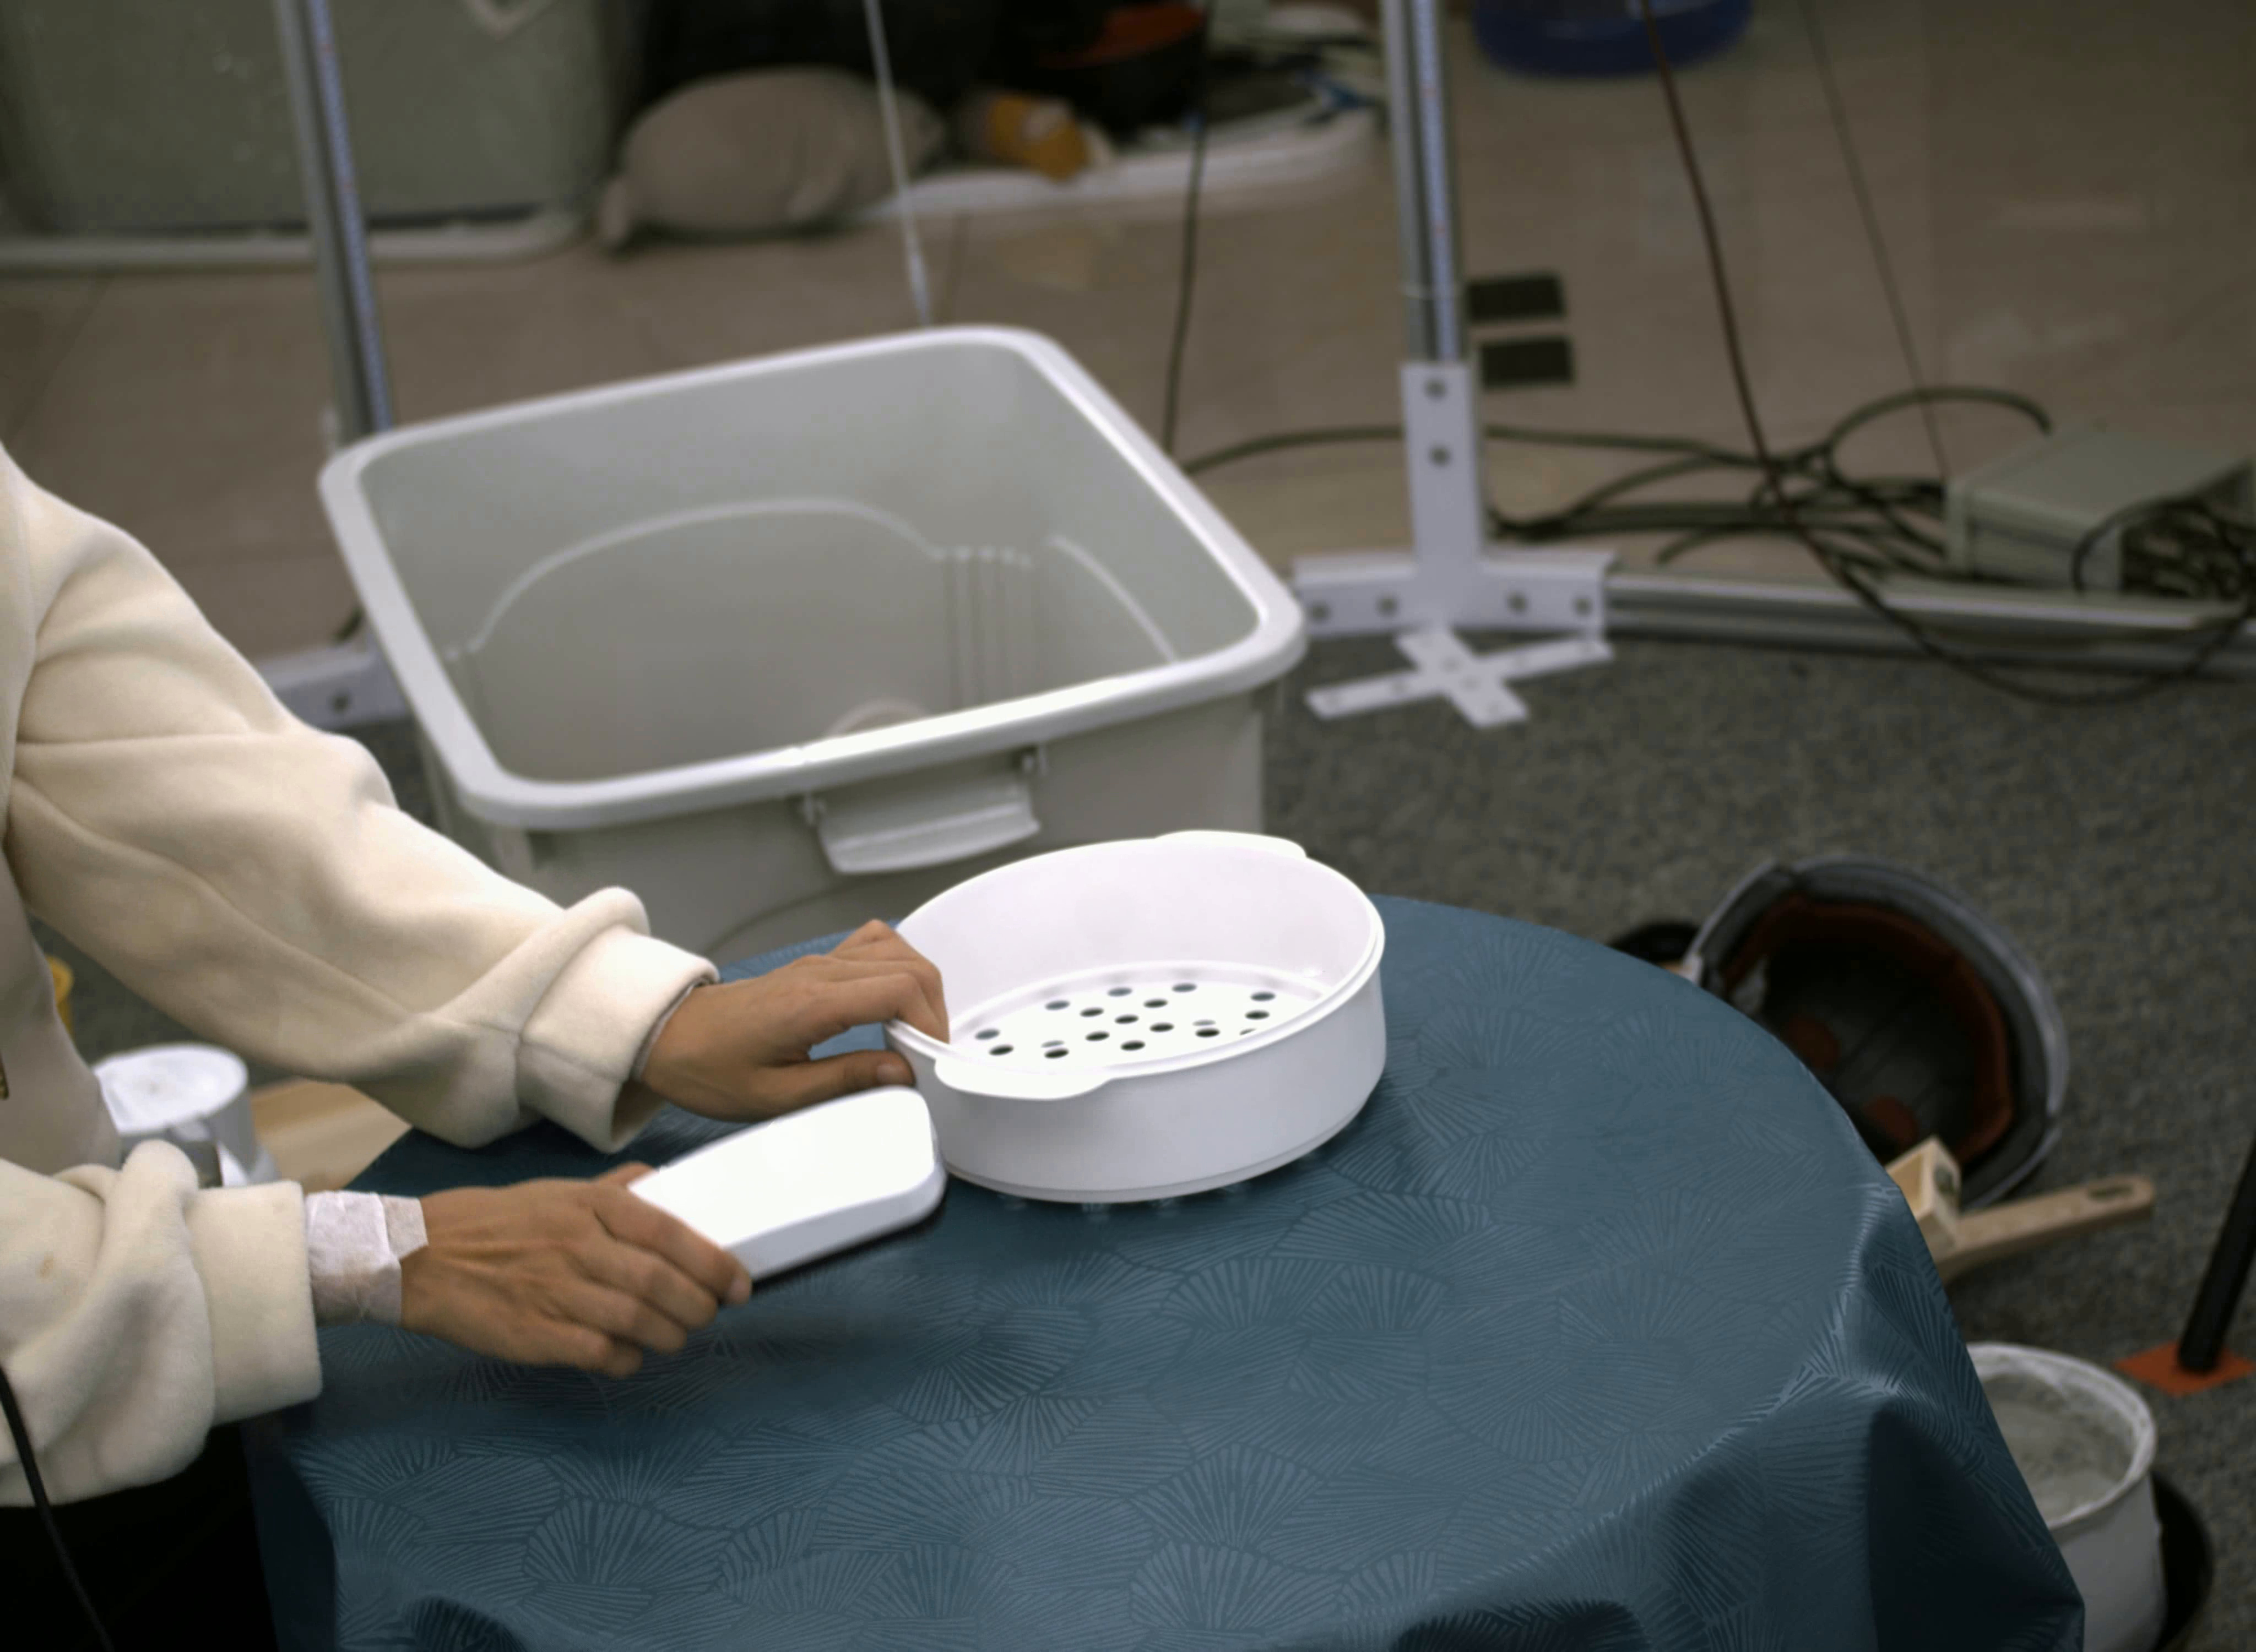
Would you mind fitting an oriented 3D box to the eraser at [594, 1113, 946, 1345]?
[{"bbox_3d":[-0.129,0.143,2.044,0.131,0.035,0.062,-18,34,9],"label":"eraser"}]

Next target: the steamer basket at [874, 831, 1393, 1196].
[{"bbox_3d":[0.004,0.075,2.204,0.201,0.070,0.227,5,27,24],"label":"steamer basket"}]
